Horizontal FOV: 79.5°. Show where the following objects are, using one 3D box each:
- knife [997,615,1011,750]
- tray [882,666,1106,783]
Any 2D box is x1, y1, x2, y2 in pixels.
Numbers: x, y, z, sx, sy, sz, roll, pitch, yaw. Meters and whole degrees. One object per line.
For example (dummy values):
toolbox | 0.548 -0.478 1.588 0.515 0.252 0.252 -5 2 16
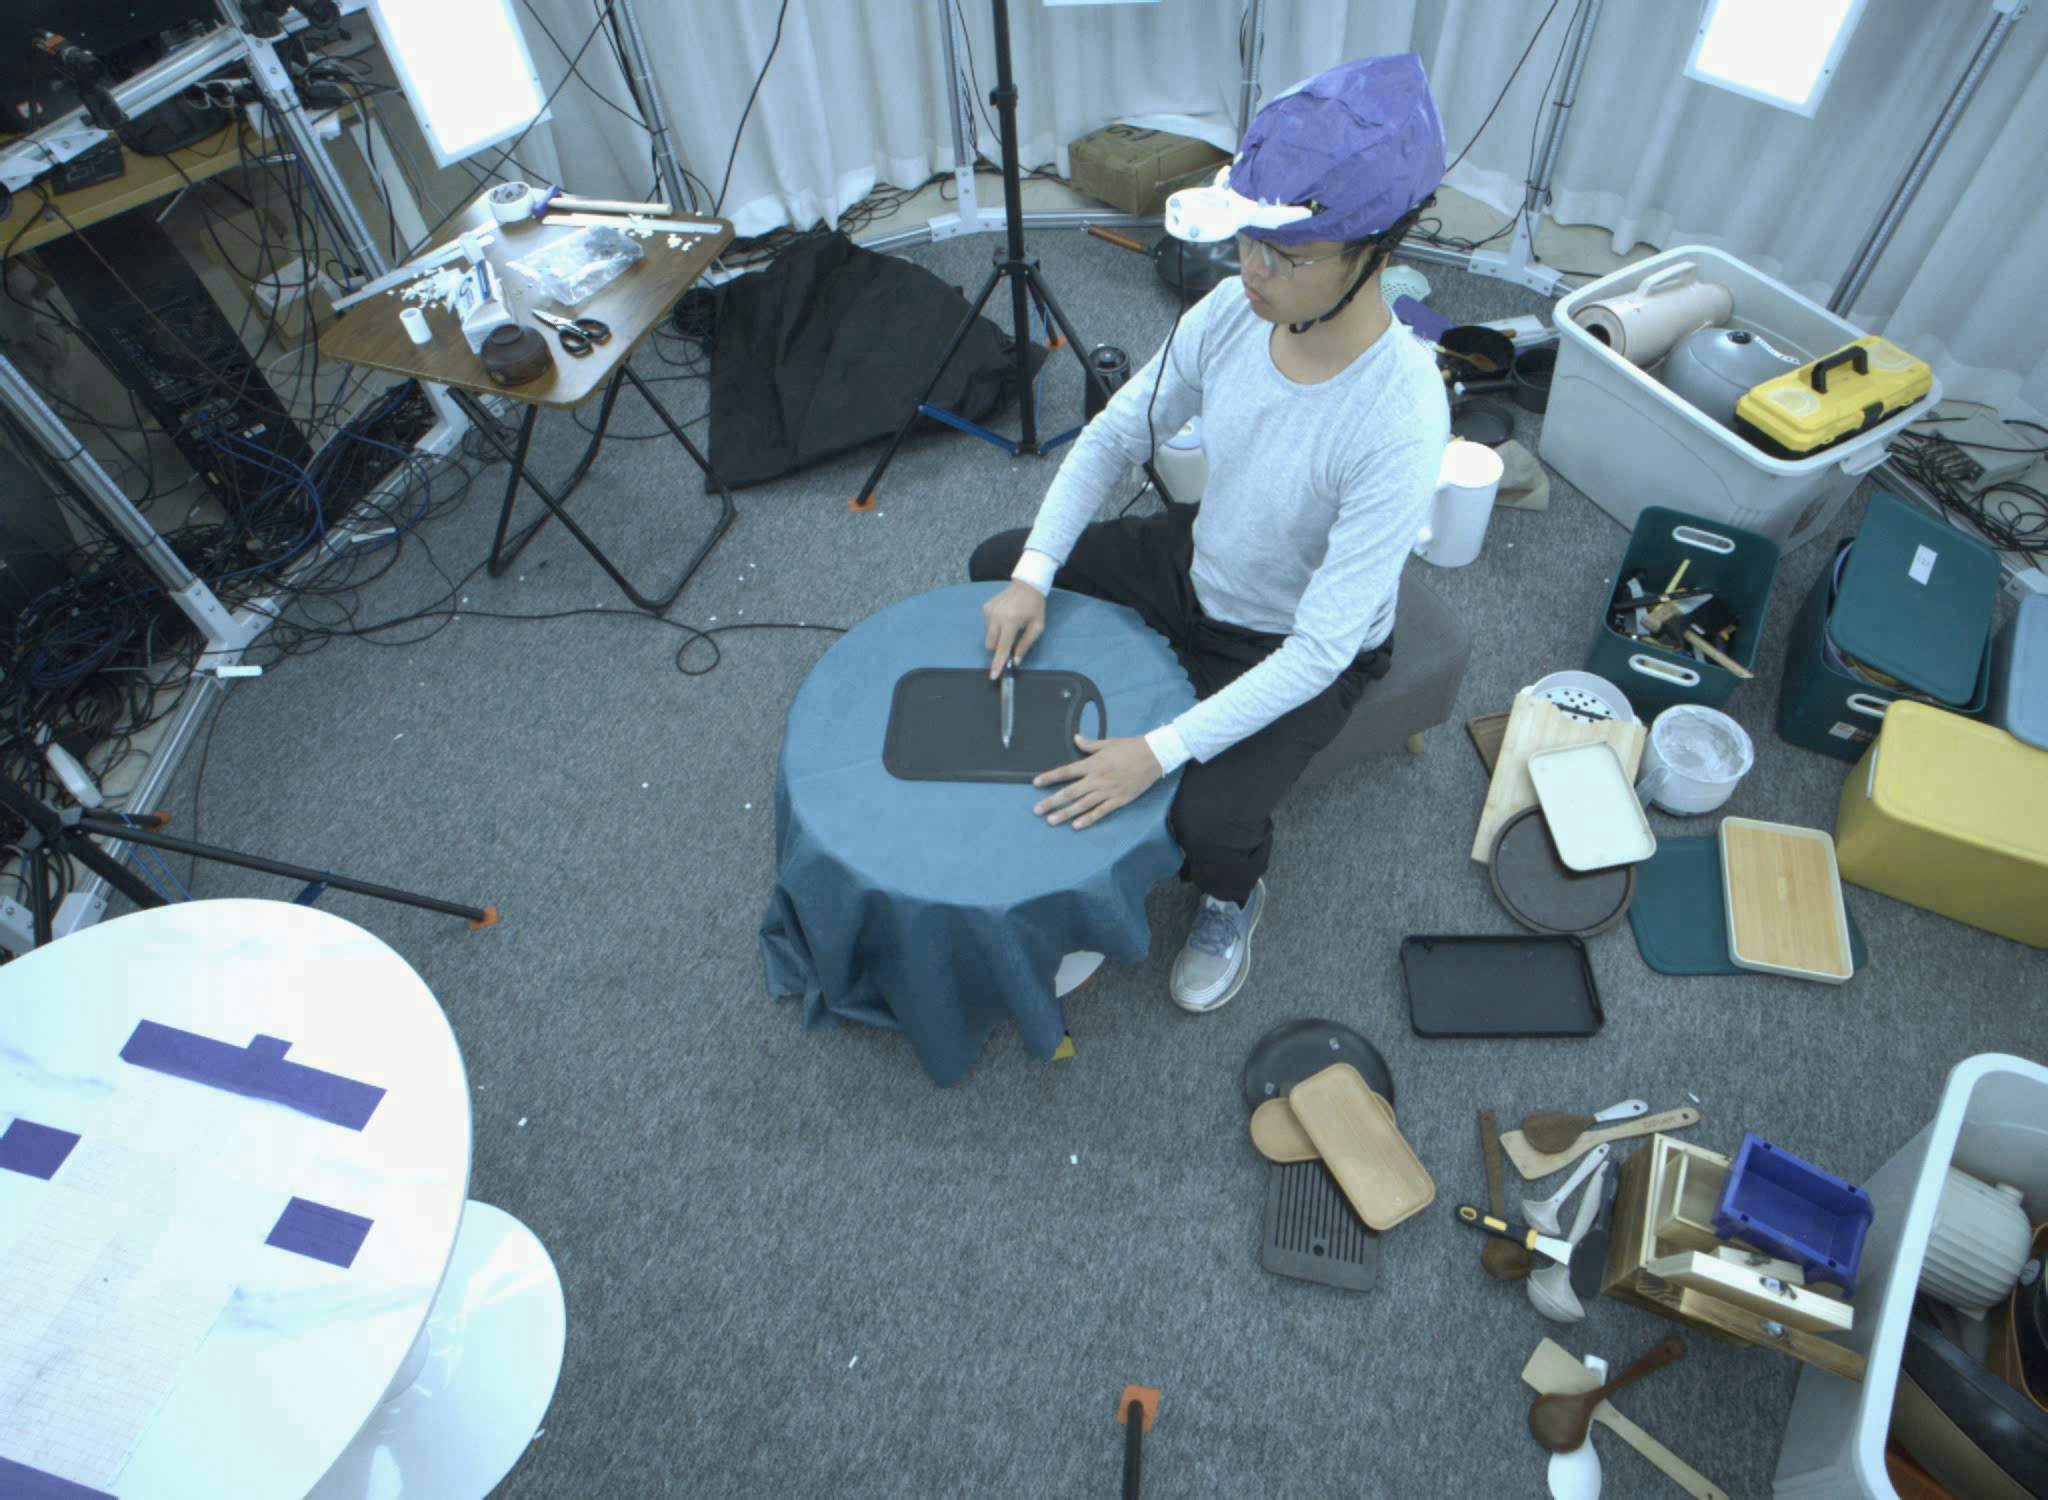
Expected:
knife | -0.030 -0.105 1.849 0.025 0.016 0.236 18 57 -32
tray | -0.041 -0.042 1.822 0.325 0.010 0.209 2 55 3
